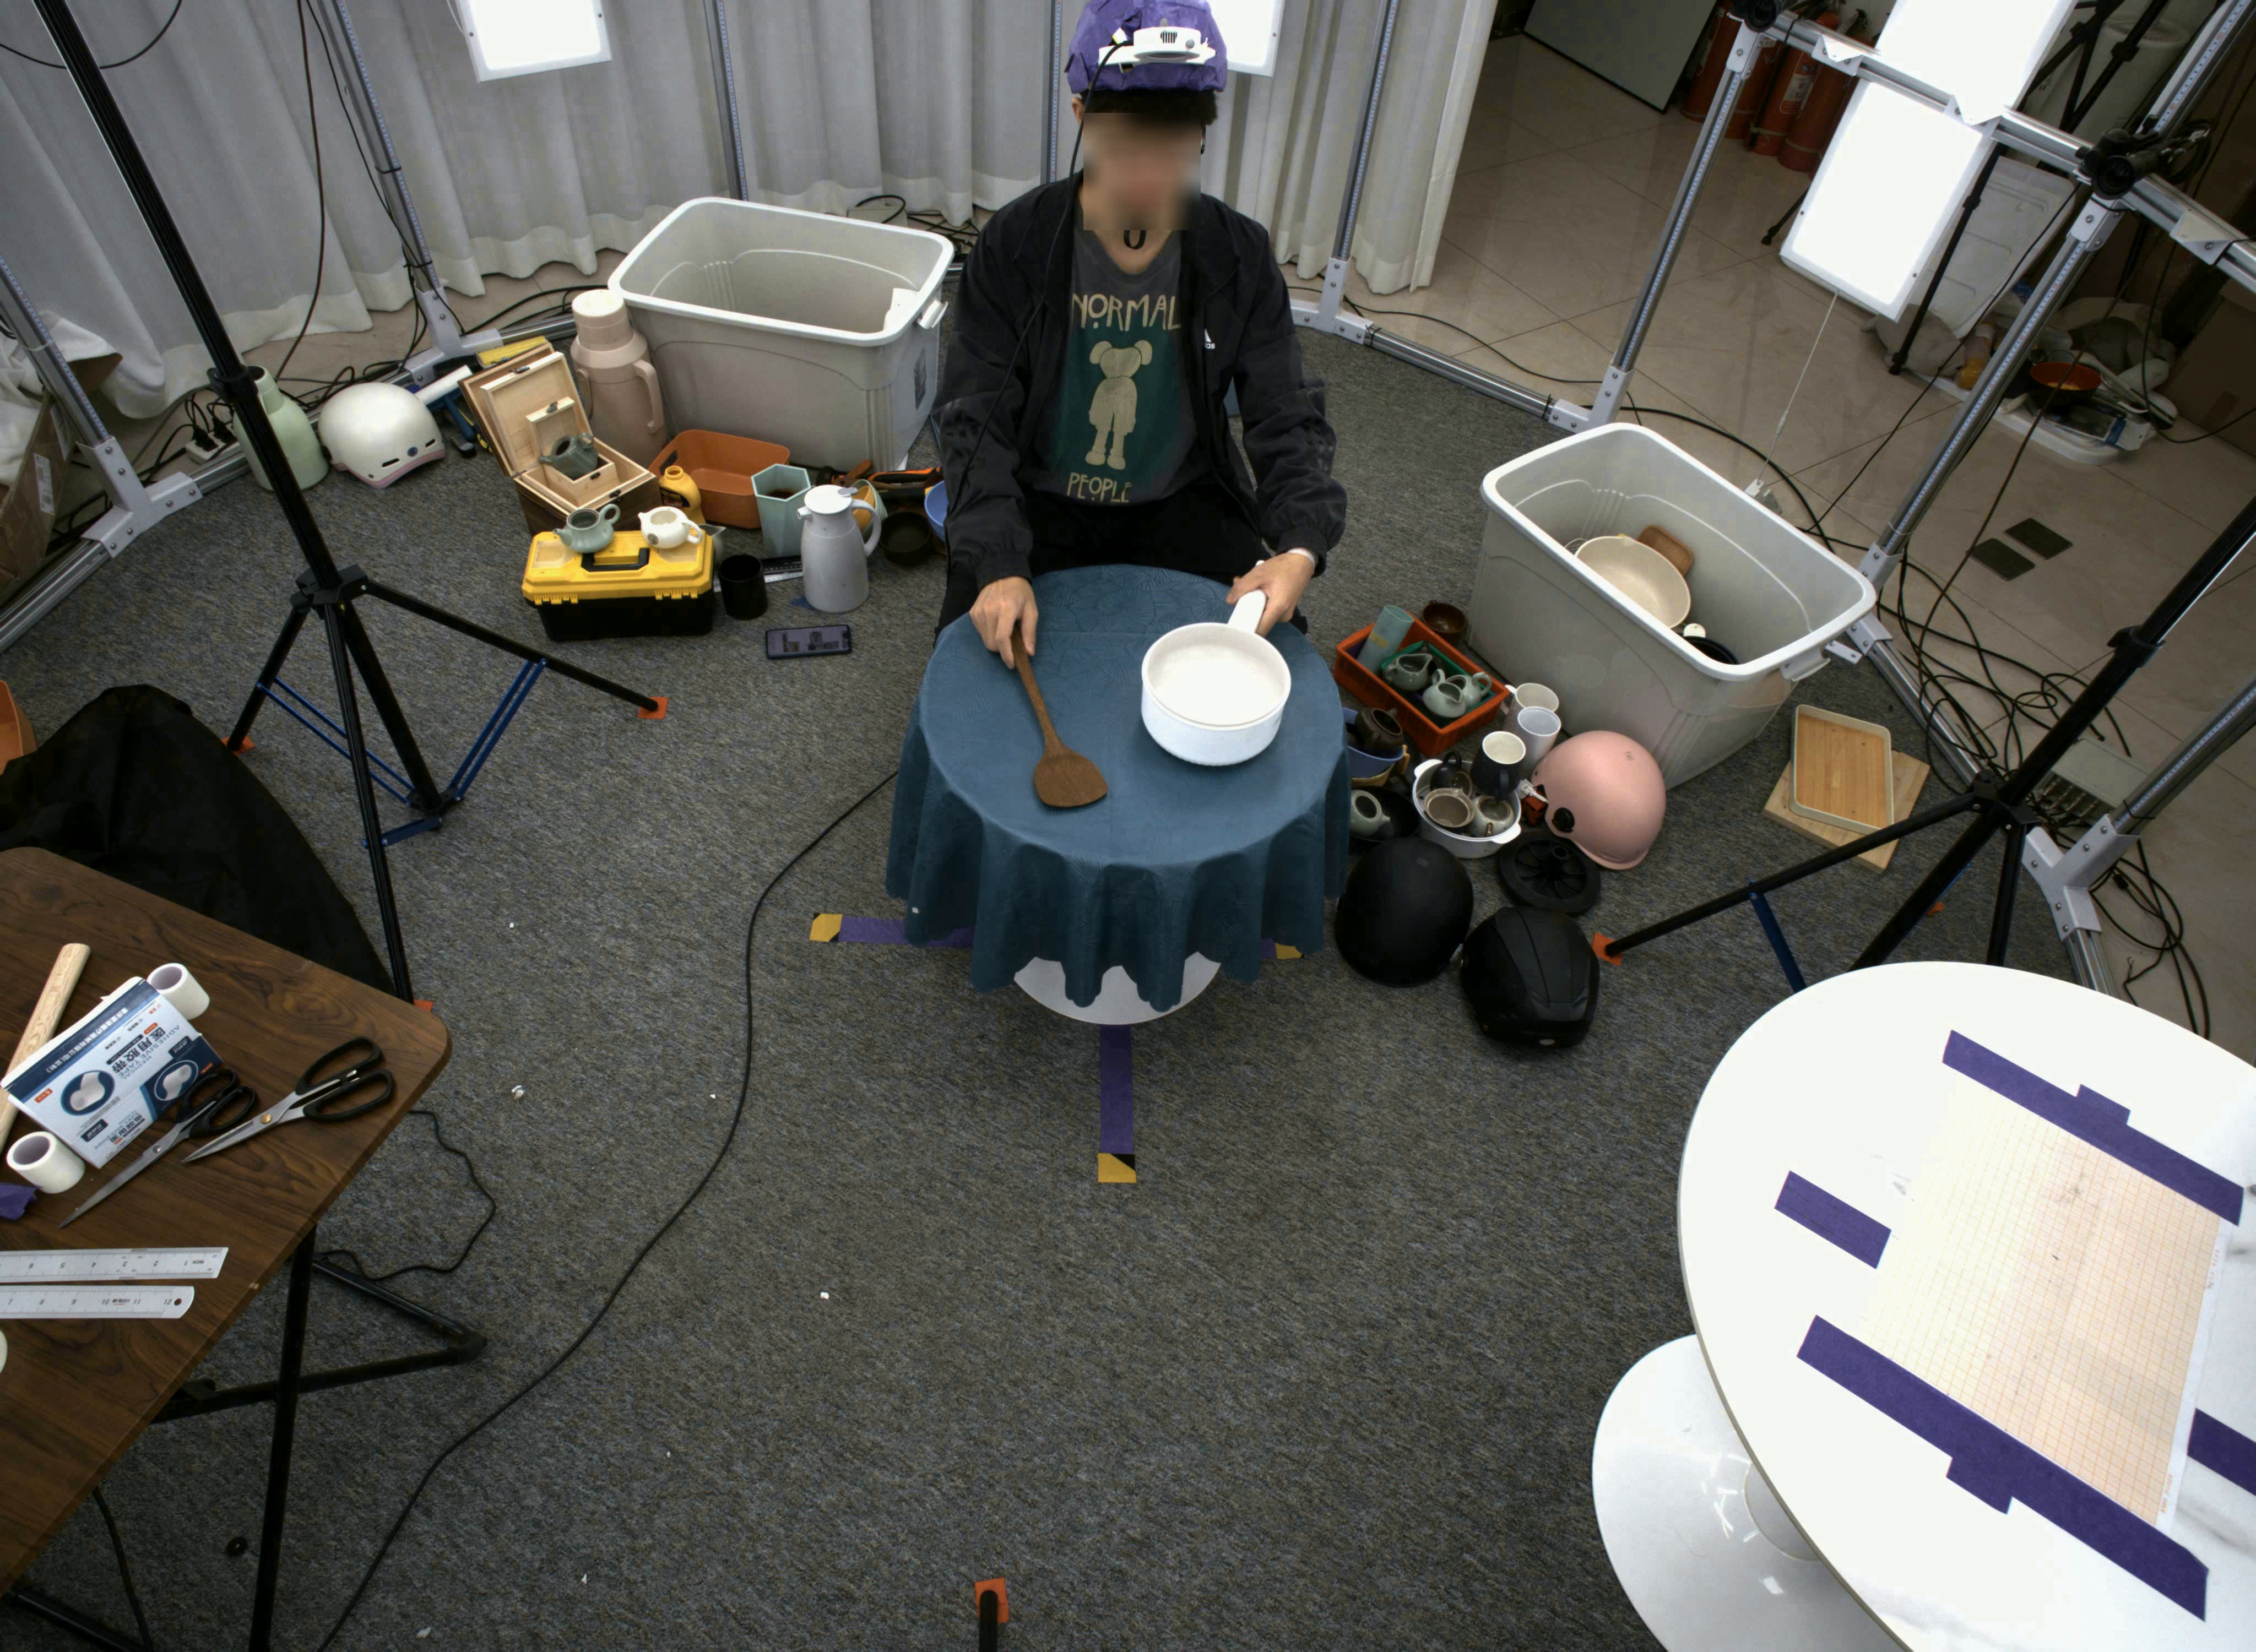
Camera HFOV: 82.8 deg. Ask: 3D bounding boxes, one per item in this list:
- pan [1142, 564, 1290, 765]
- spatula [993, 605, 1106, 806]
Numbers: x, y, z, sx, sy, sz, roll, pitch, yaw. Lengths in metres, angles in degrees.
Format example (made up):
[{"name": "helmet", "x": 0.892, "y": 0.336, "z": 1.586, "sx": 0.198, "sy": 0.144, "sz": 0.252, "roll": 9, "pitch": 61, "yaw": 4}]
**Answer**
[{"name": "pan", "x": 0.144, "y": -0.230, "z": 1.811, "sx": 0.202, "sy": 0.099, "sz": 0.362, "roll": 17, "pitch": 49, "yaw": 12}, {"name": "spatula", "x": -0.128, "y": -0.177, "z": 1.788, "sx": 0.096, "sy": 0.015, "sz": 0.395, "roll": -9, "pitch": 54, "yaw": -18}]
